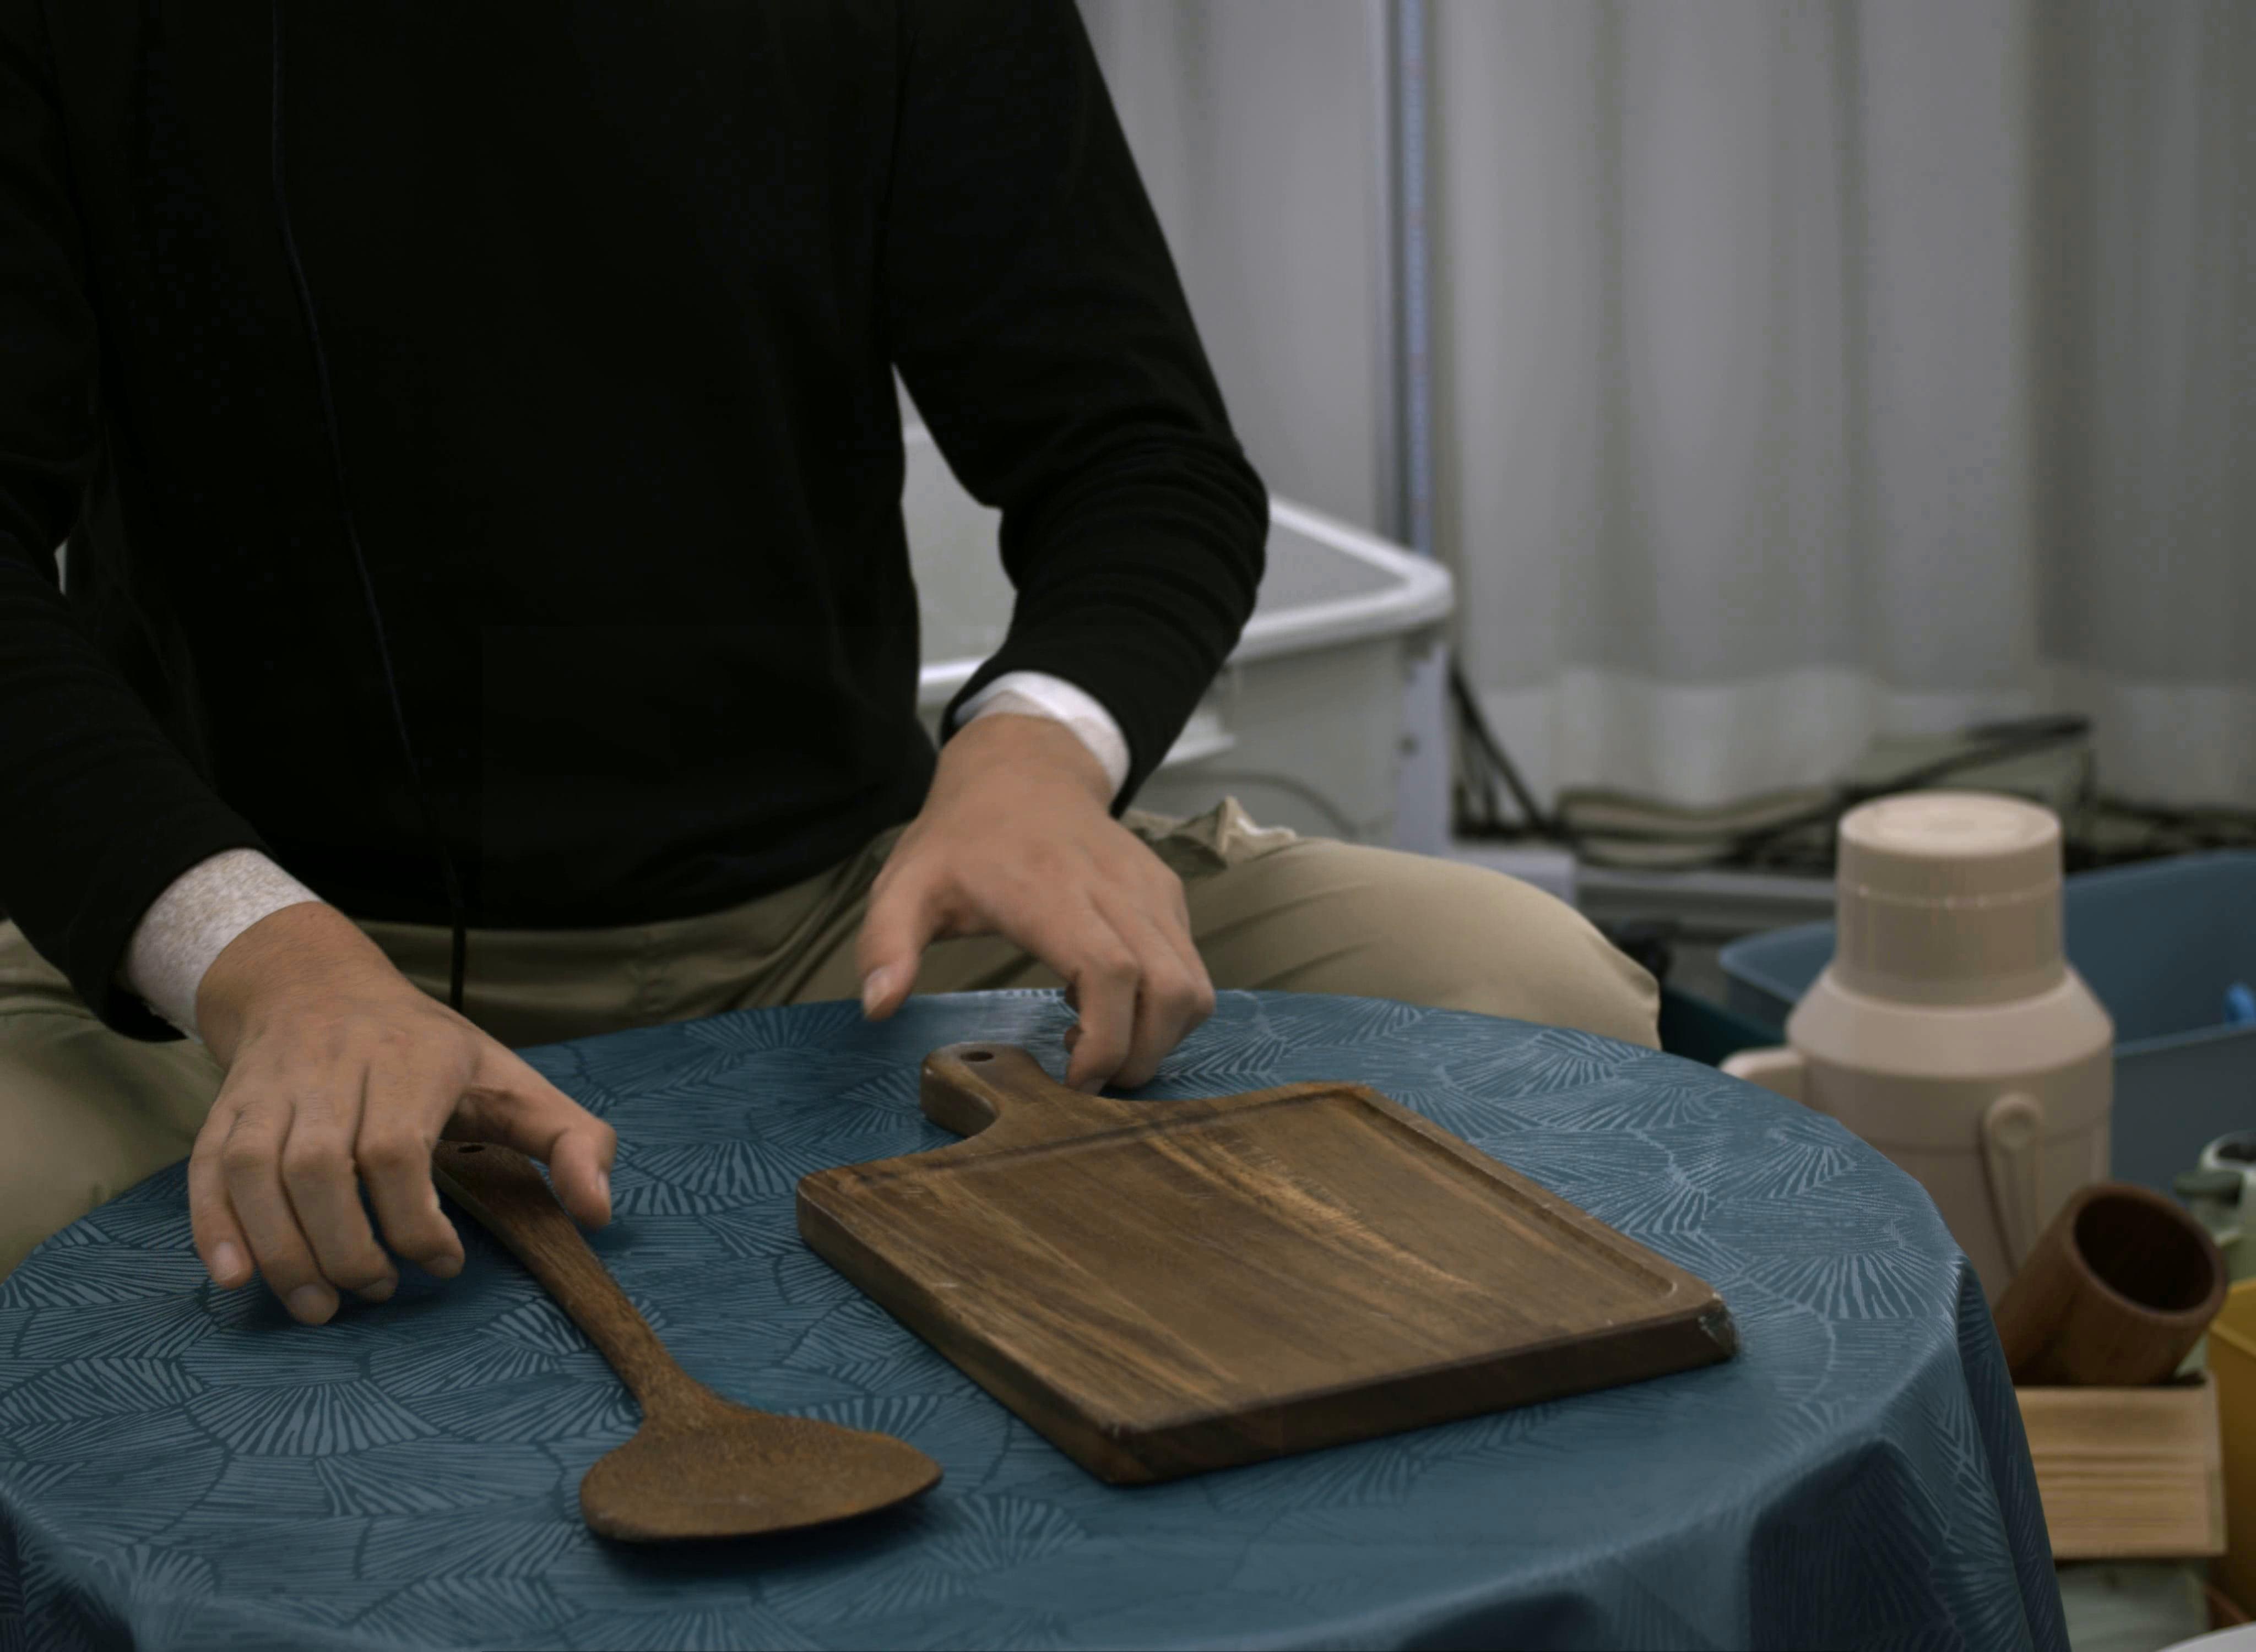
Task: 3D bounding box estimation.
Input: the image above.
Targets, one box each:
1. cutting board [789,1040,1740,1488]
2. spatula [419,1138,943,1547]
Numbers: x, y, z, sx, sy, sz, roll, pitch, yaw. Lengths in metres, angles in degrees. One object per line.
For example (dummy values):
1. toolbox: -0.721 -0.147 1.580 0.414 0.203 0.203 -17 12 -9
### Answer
1. cutting board: 0.014 0.118 1.657 0.200 0.023 0.355 -9 16 -23
2. spatula: -0.153 0.144 1.603 0.095 0.016 0.389 -8 15 -19
